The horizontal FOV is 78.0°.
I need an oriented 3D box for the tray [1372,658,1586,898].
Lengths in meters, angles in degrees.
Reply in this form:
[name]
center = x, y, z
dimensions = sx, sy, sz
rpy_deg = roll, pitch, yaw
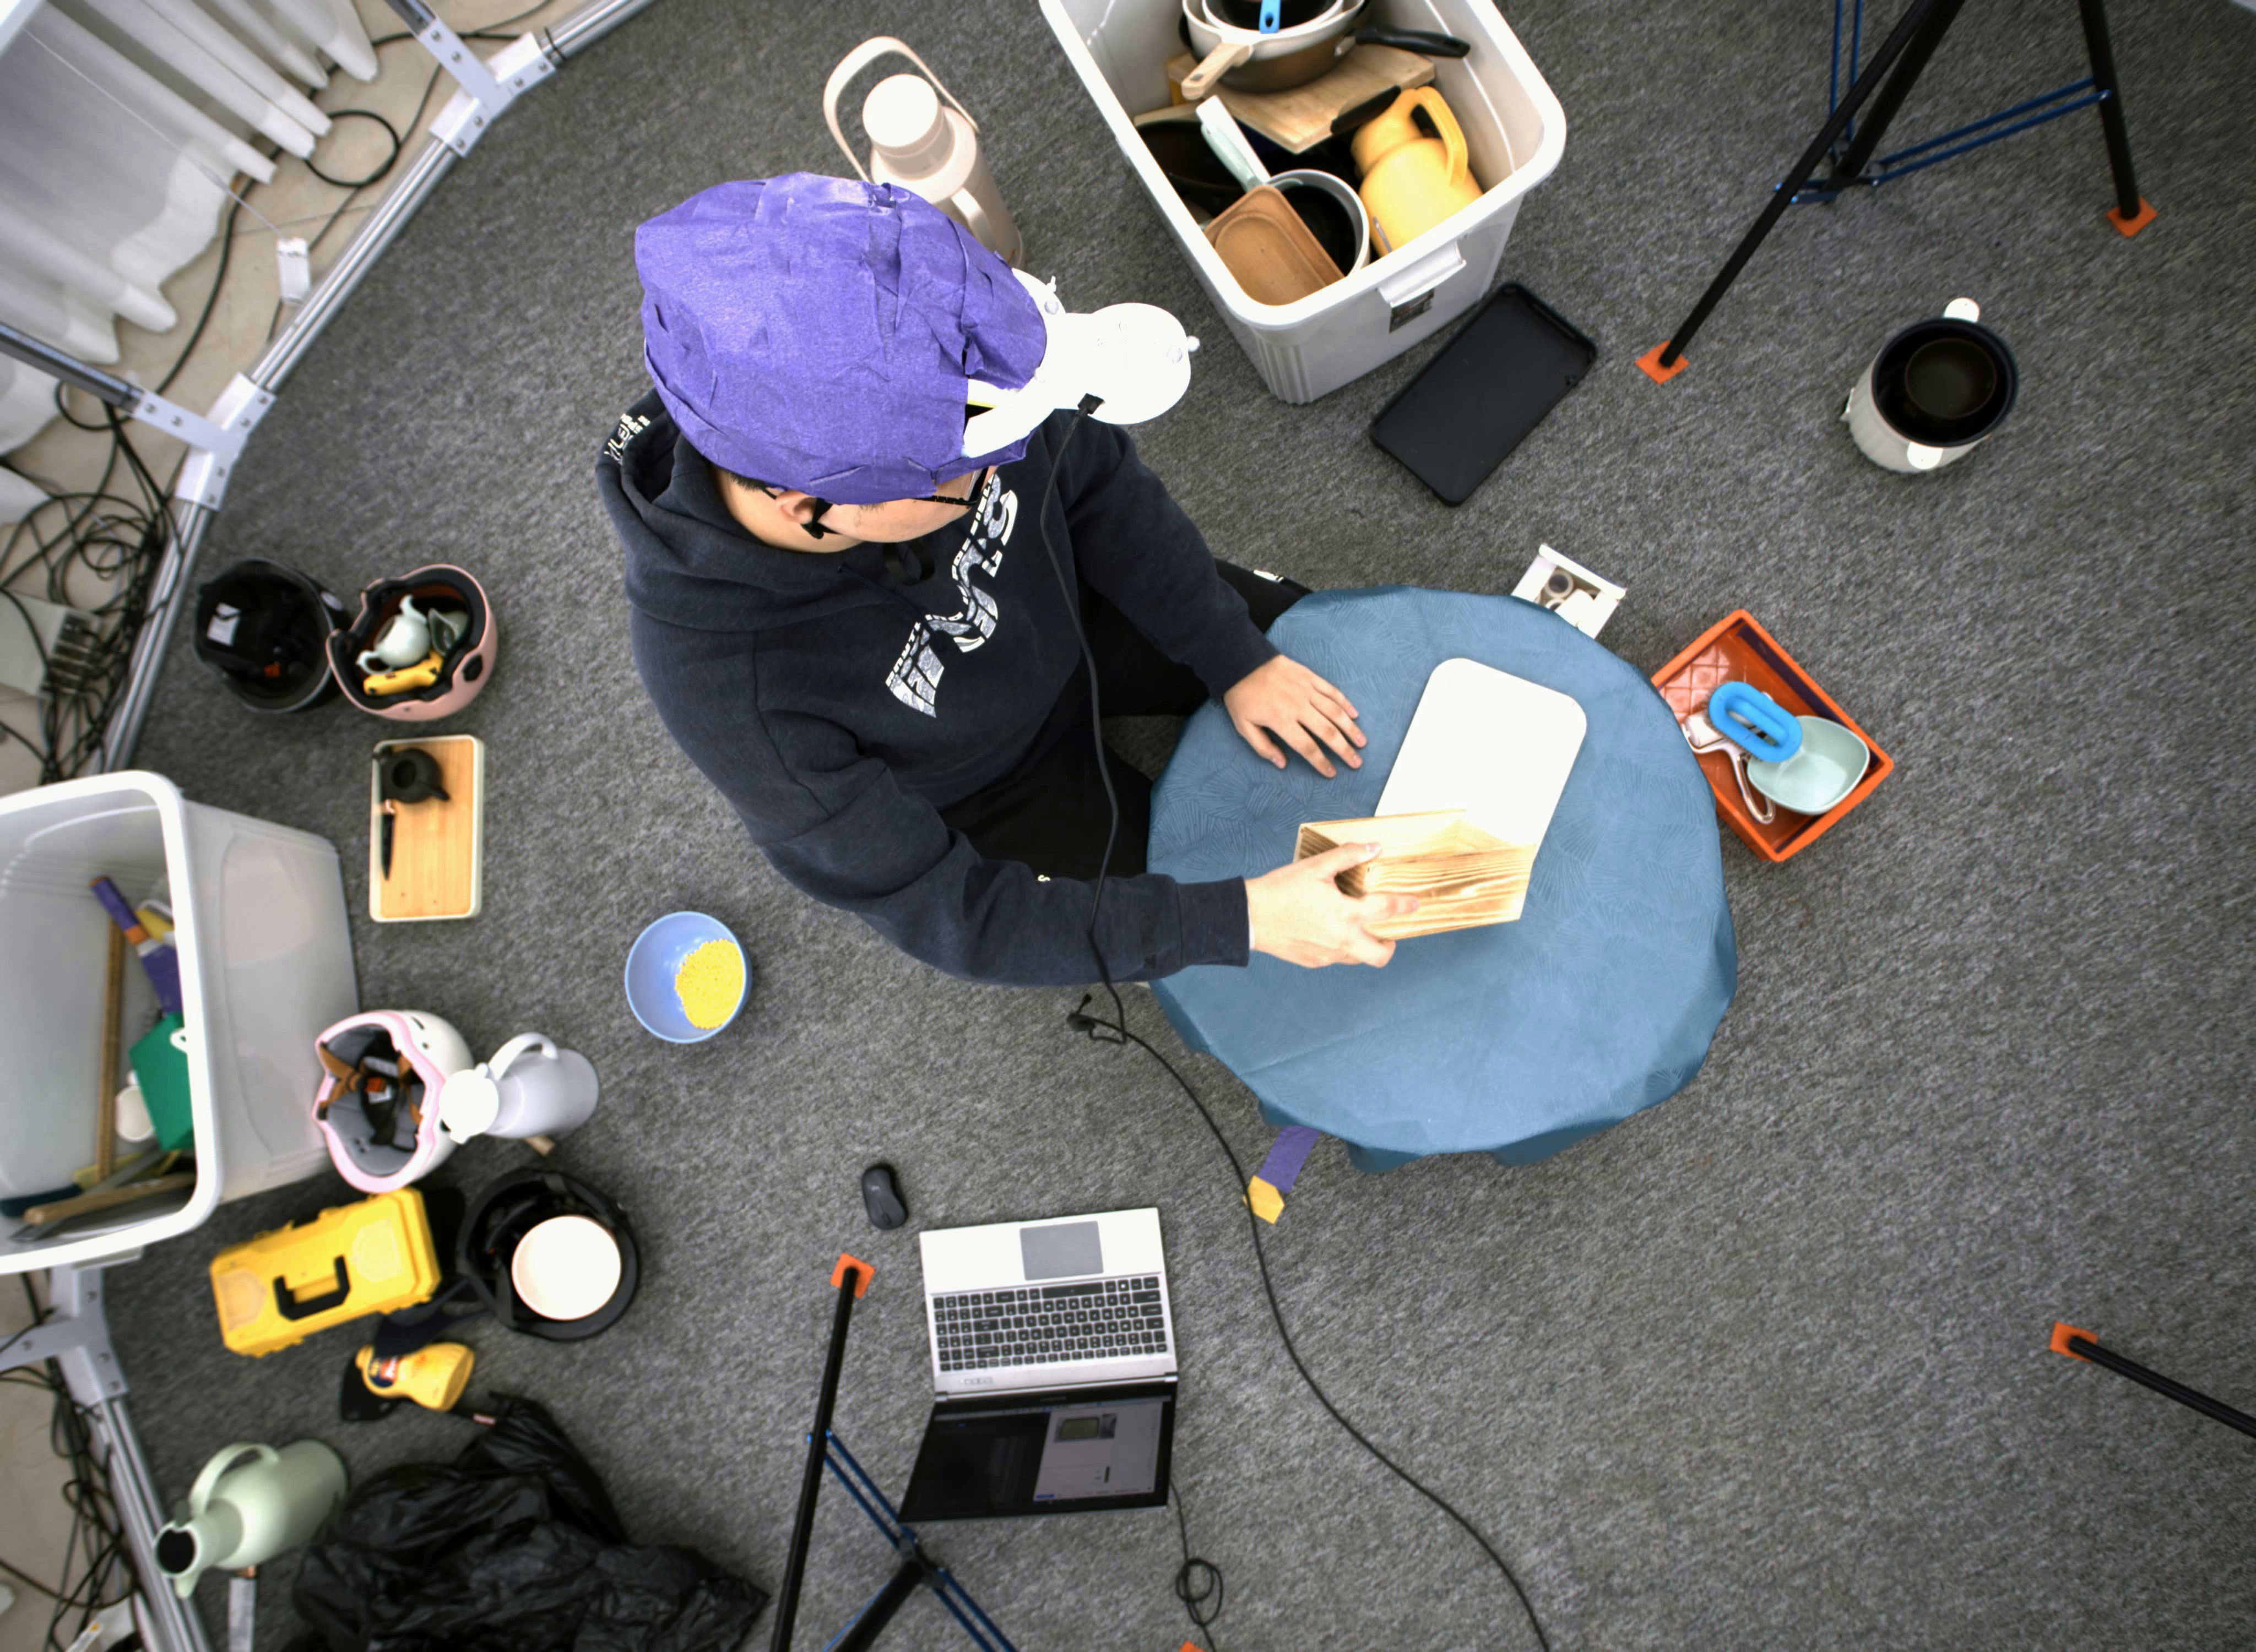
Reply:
[tray]
center = 0.364, -0.048, 1.441
dimensions = 0.171, 0.017, 0.240
rpy_deg = 22, 91, 12

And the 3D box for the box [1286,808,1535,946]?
[box]
center = 0.270, 0.044, 1.320
dimensions = 0.106, 0.210, 0.082
rpy_deg = 37, 126, 51
